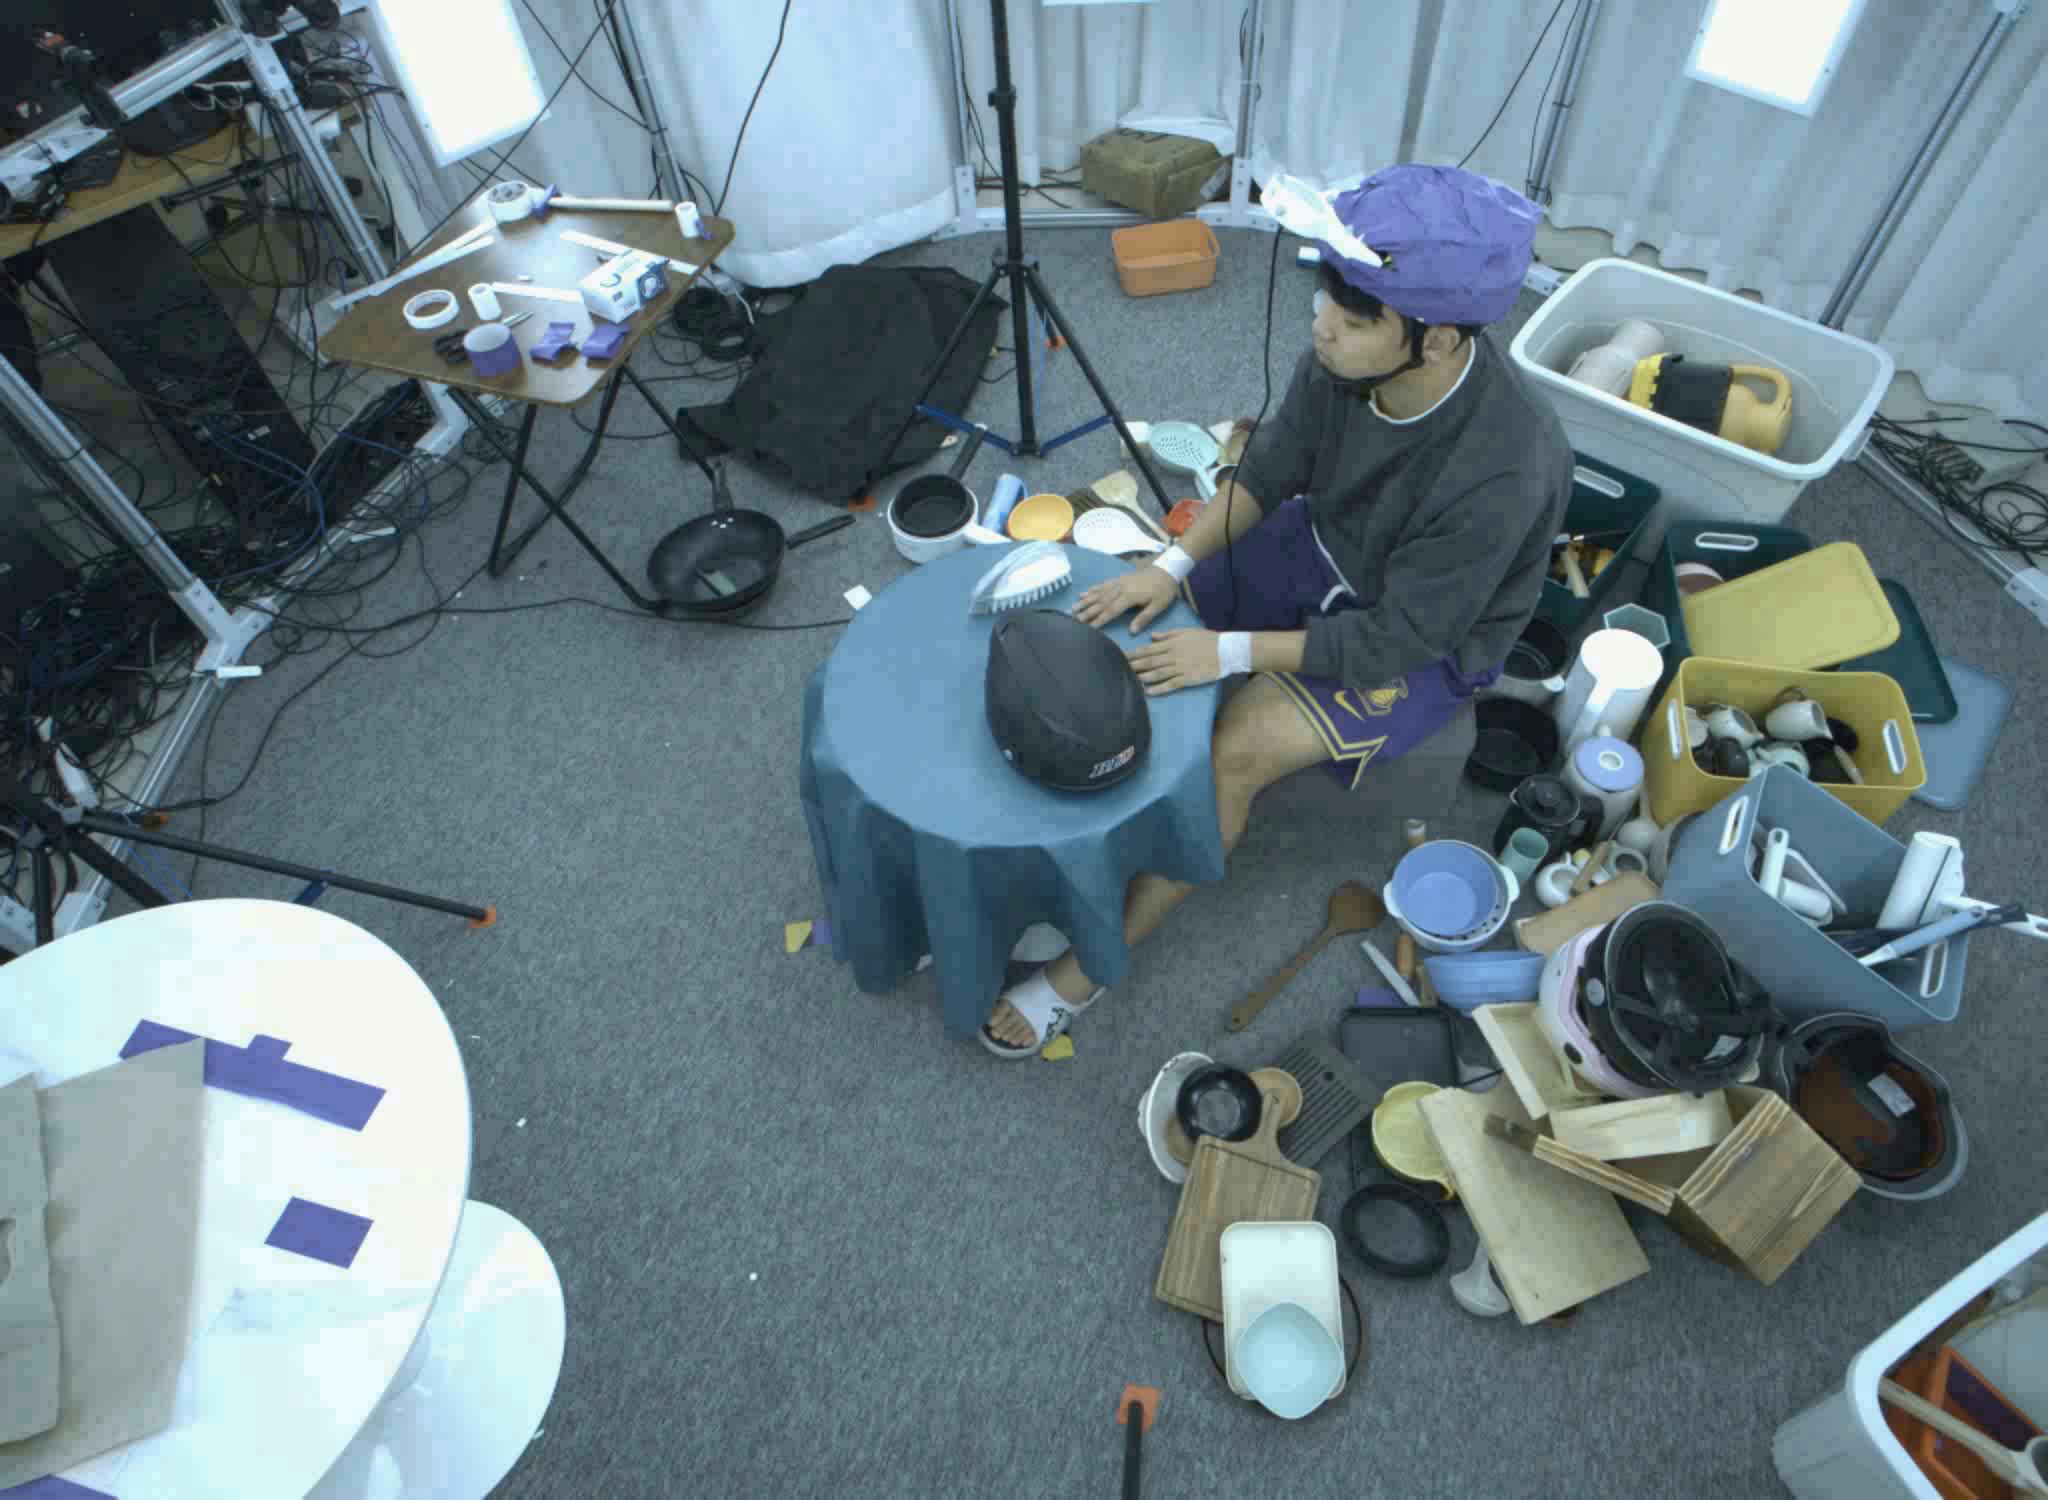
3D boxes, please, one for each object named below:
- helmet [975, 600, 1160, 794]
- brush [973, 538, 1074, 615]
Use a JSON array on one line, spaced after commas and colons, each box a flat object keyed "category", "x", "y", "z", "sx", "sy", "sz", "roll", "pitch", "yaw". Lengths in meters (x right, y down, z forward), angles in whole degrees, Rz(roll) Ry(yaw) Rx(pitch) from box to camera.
[{"category": "helmet", "x": 0.054, "y": -0.084, "z": 1.750, "sx": 0.248, "sy": 0.174, "sz": 0.271, "roll": -26, "pitch": 54, "yaw": -14}, {"category": "brush", "x": -0.008, "y": -0.277, "z": 1.931, "sx": 0.177, "sy": 0.095, "sz": 0.060, "roll": -27, "pitch": 56, "yaw": -13}]
